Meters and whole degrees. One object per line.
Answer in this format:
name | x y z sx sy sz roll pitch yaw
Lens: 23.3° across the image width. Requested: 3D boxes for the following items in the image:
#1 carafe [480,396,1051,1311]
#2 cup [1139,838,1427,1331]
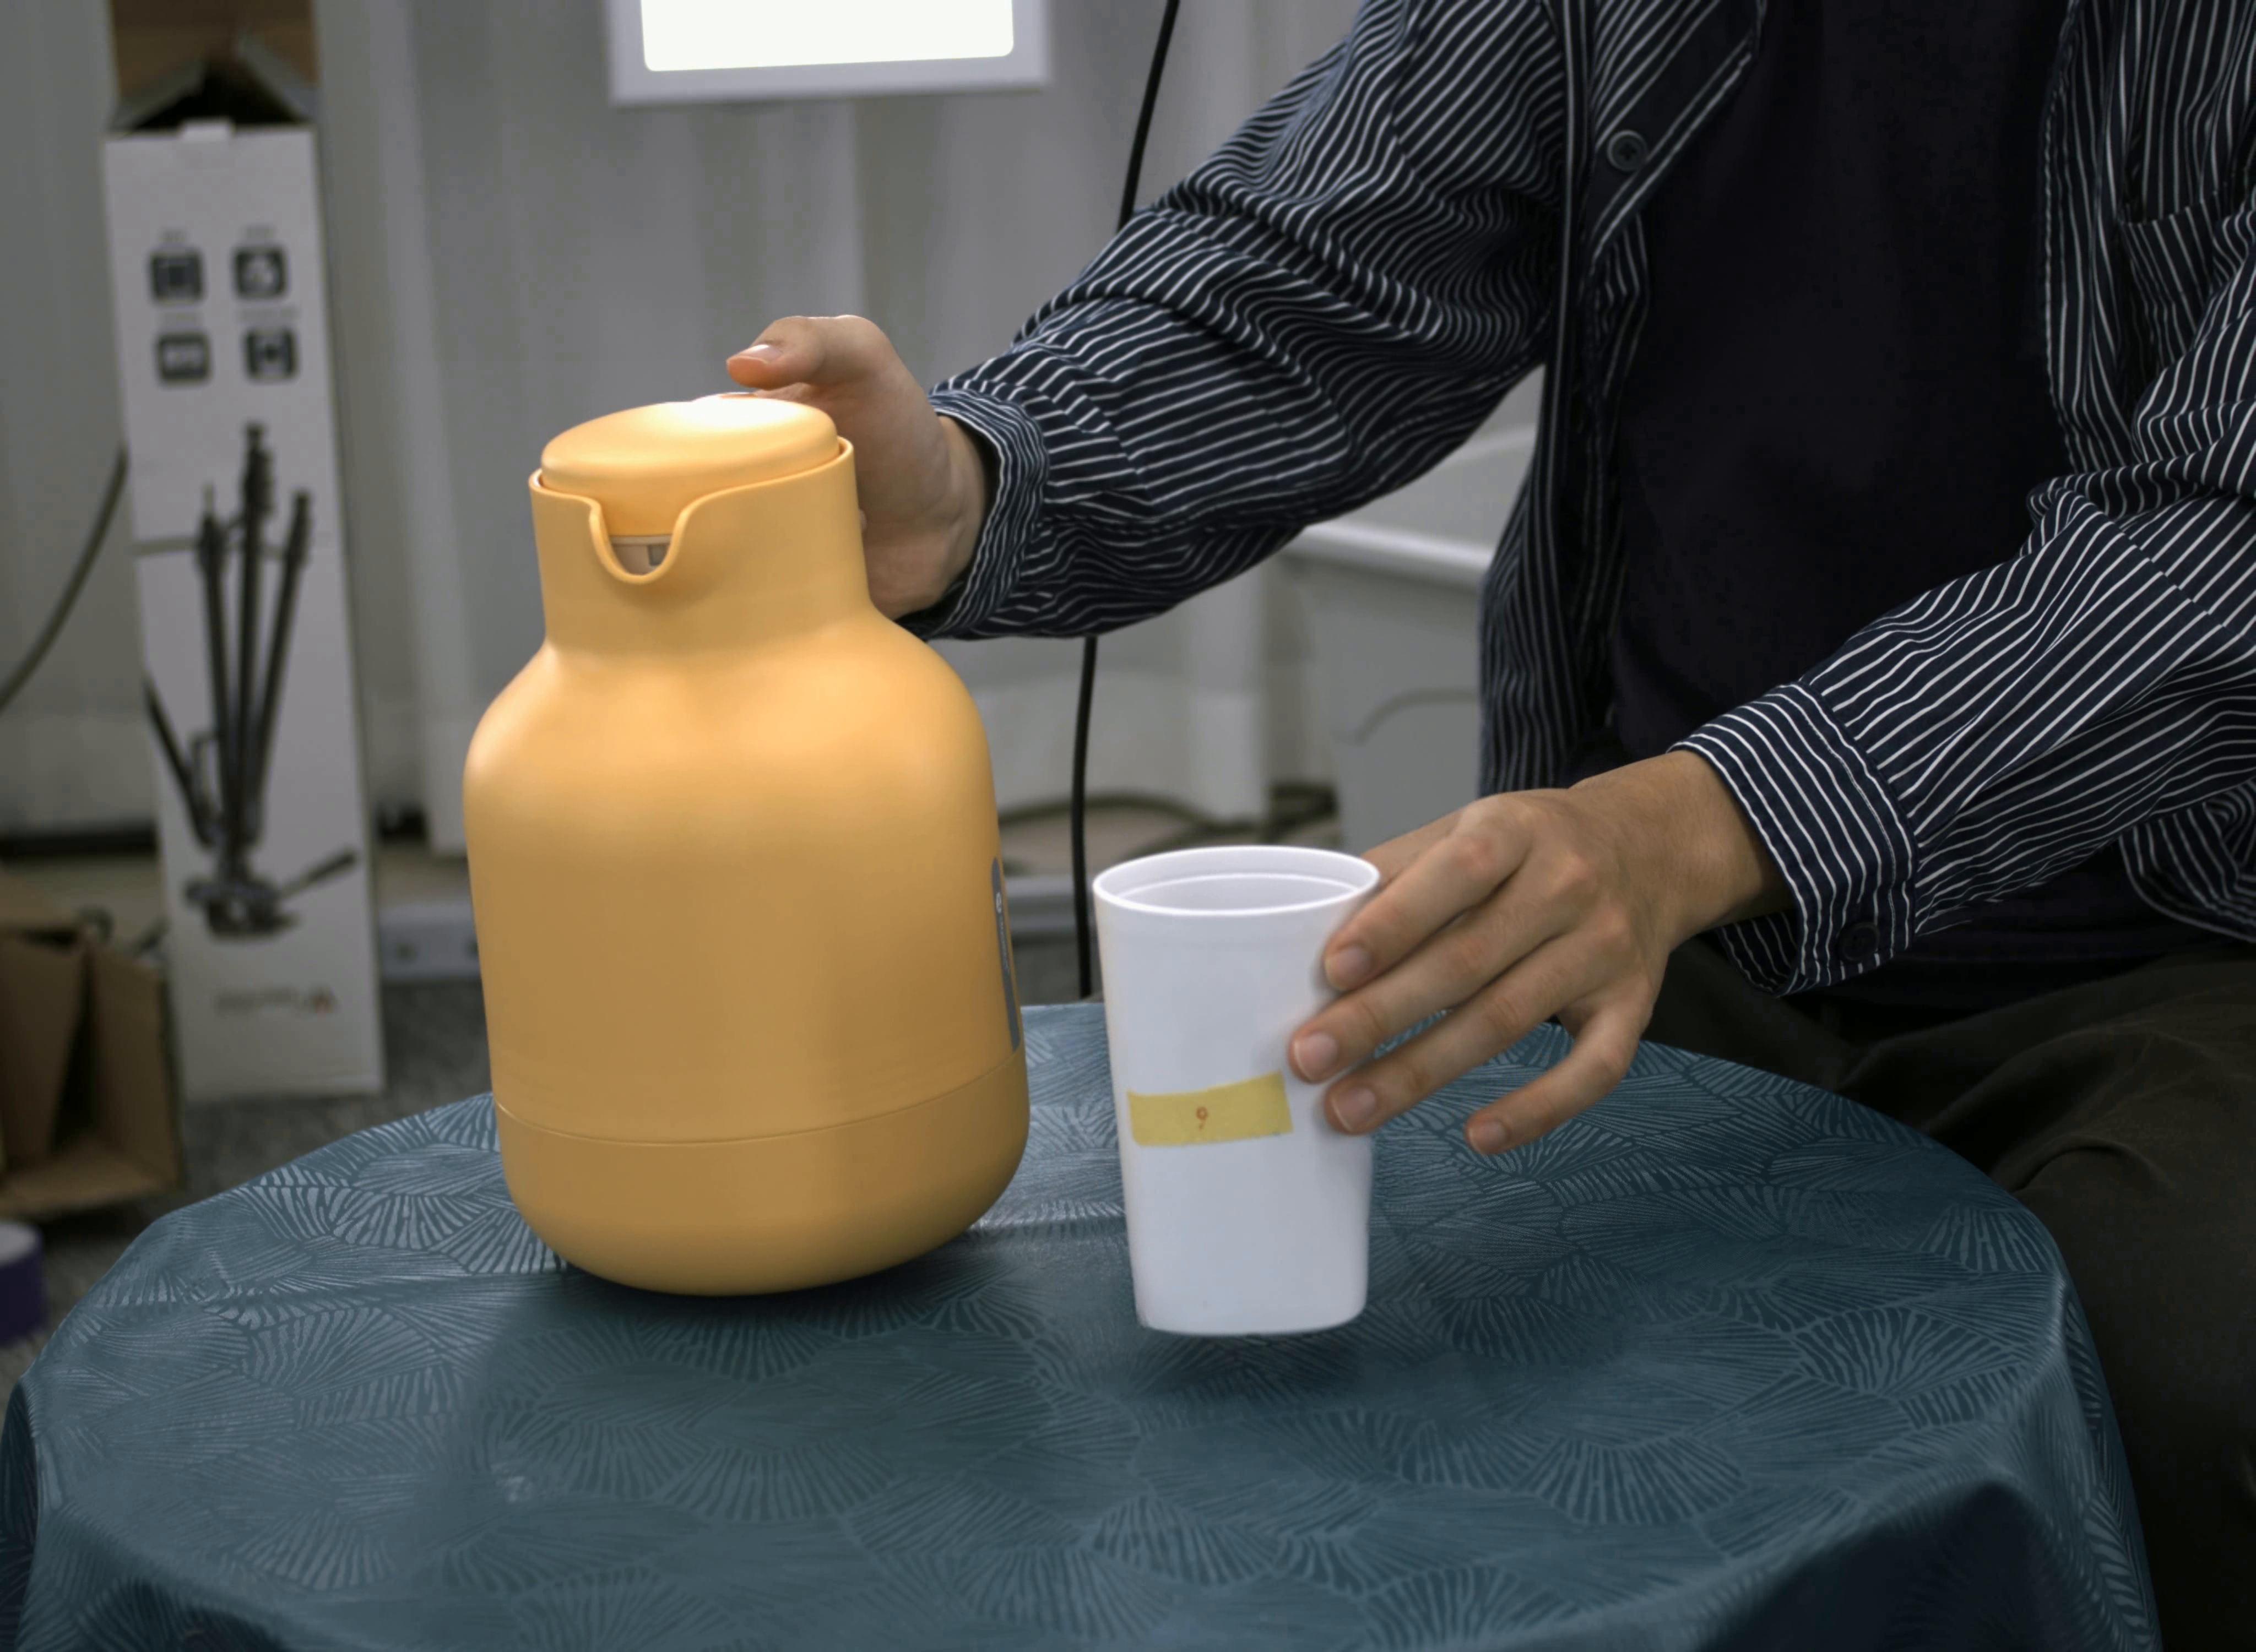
carafe | -0.109 0.000 1.661 0.163 0.259 0.203 -2 14 7
cup | 0.045 0.073 1.543 0.081 0.125 0.082 -2 11 0
